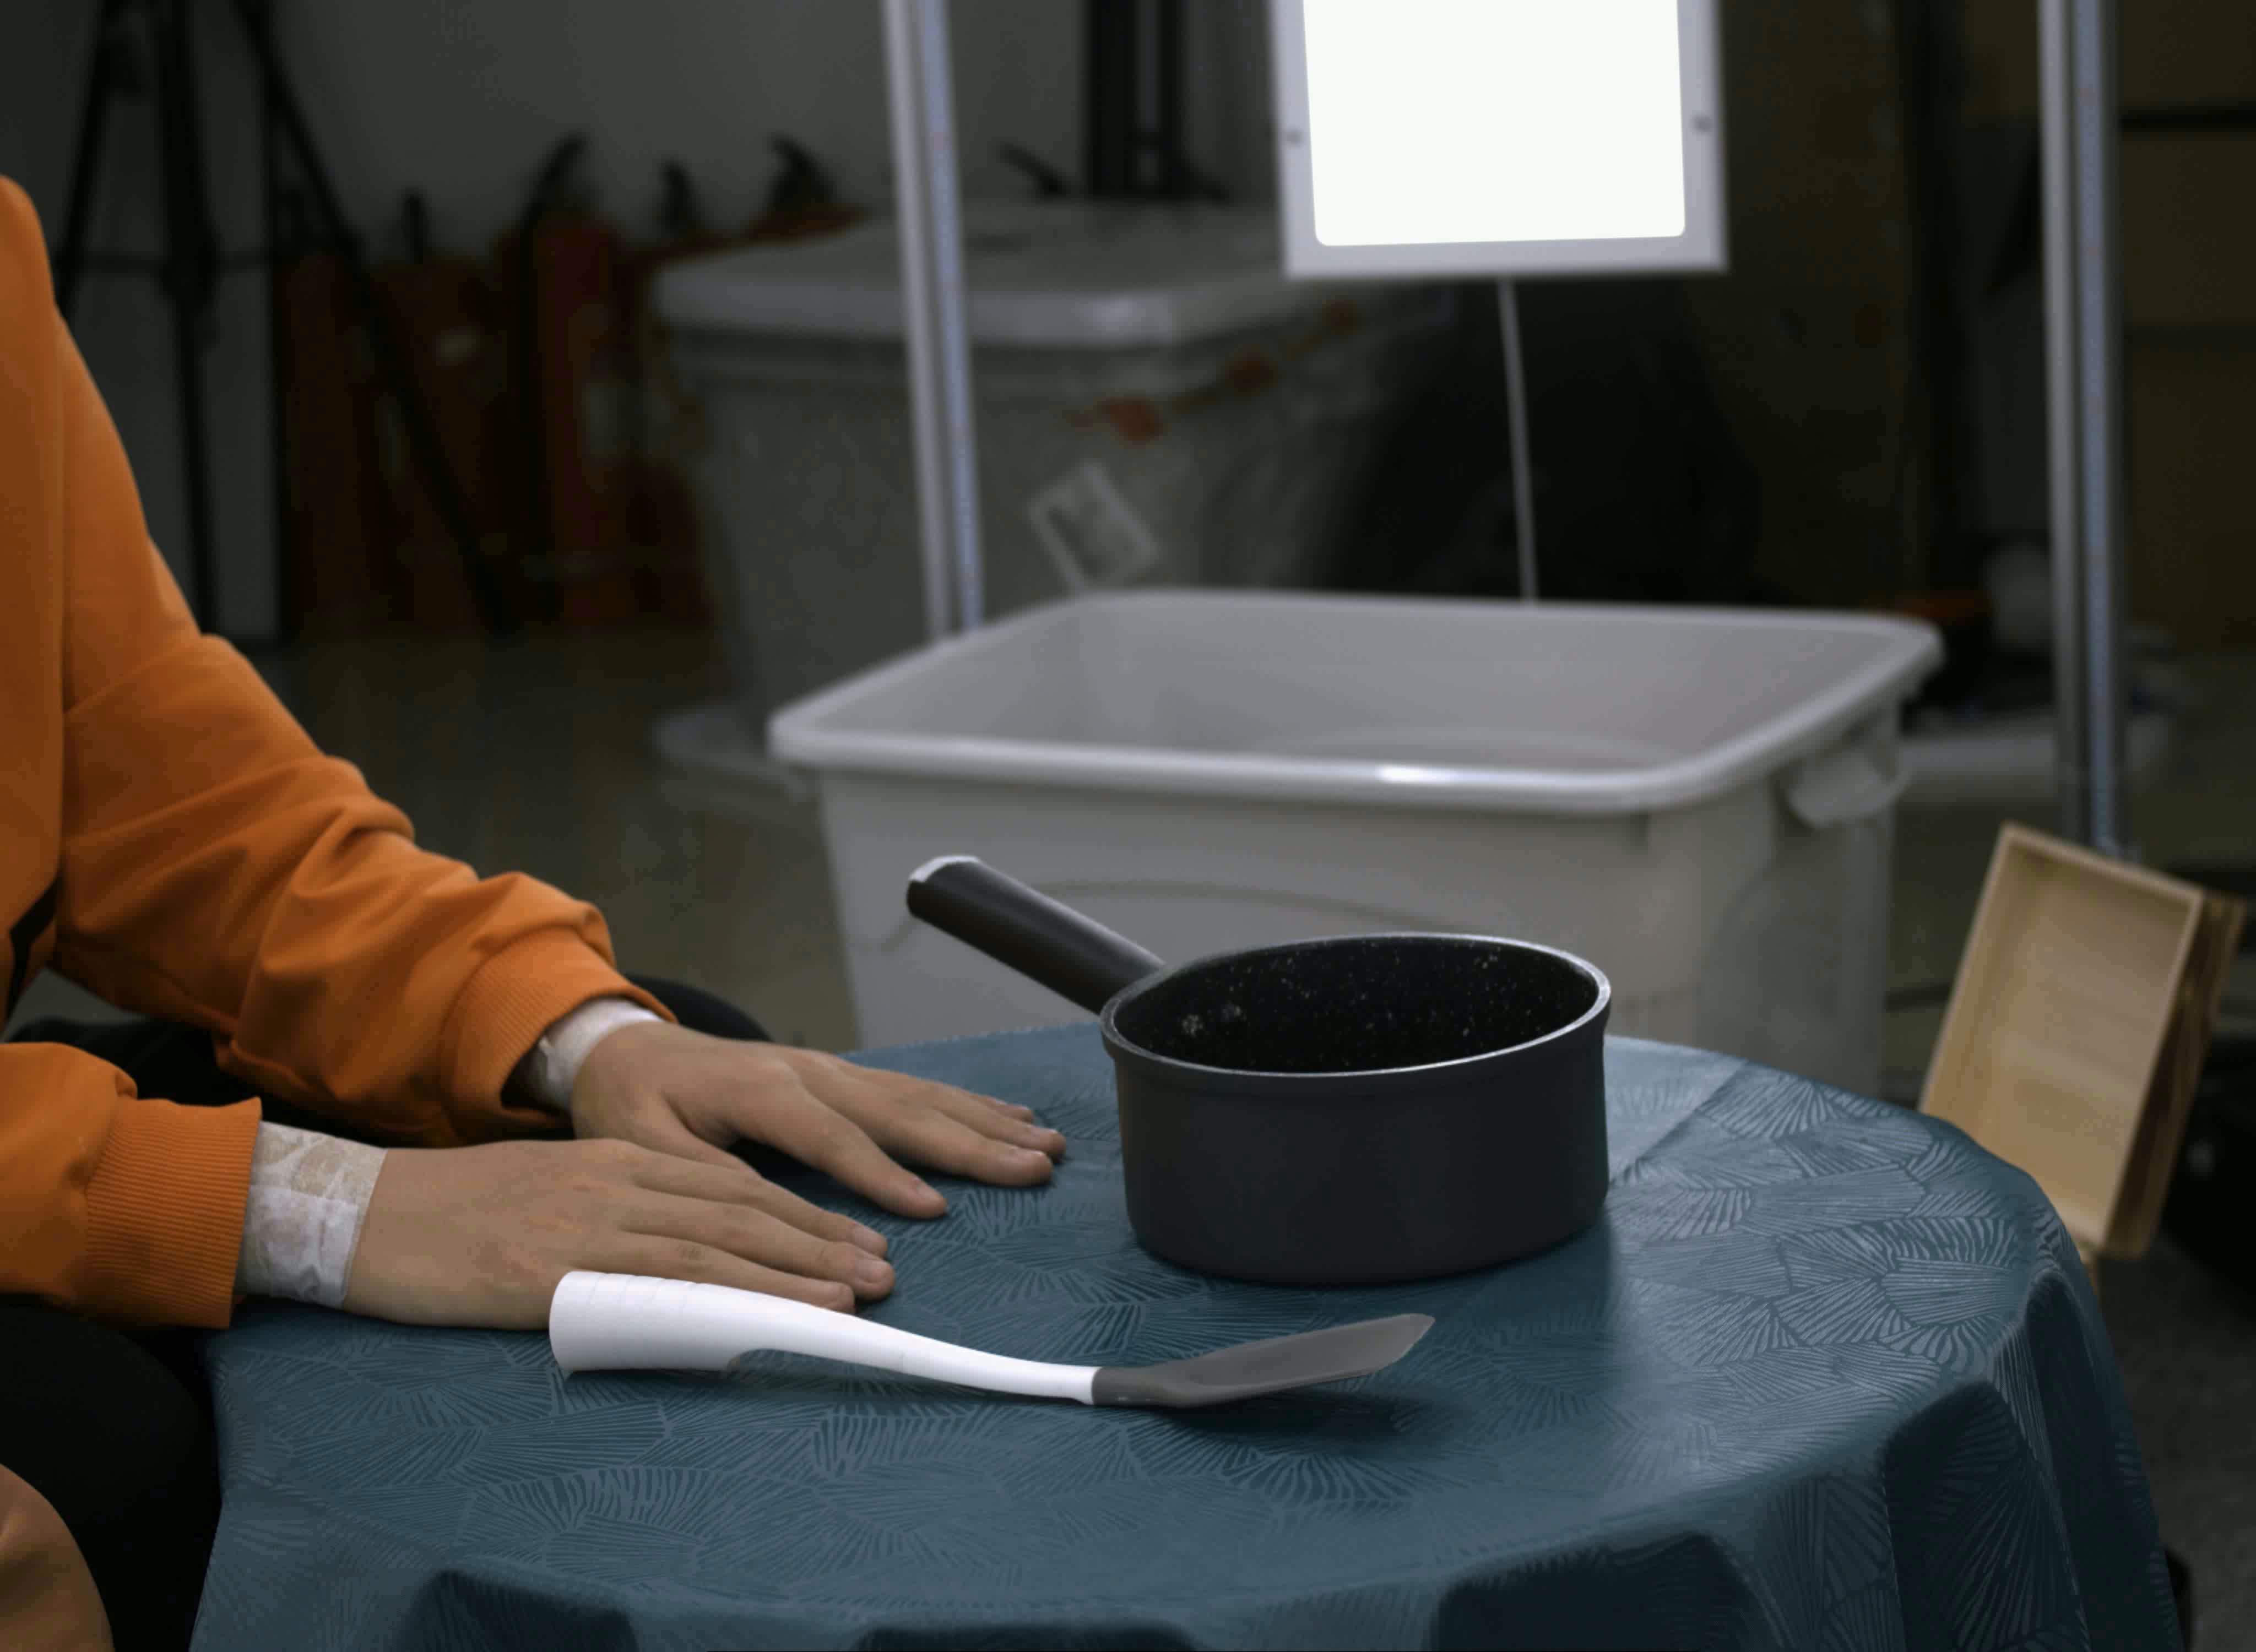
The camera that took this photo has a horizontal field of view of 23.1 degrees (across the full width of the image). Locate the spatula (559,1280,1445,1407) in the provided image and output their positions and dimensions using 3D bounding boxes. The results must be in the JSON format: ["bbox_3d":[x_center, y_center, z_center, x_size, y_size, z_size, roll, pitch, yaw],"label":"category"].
[{"bbox_3d":[-0.042,0.161,1.705,0.292,0.032,0.057,0,10,24],"label":"spatula"}]

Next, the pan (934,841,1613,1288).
[{"bbox_3d":[0.033,0.077,1.906,0.168,0.087,0.335,-13,17,-32],"label":"pan"}]
